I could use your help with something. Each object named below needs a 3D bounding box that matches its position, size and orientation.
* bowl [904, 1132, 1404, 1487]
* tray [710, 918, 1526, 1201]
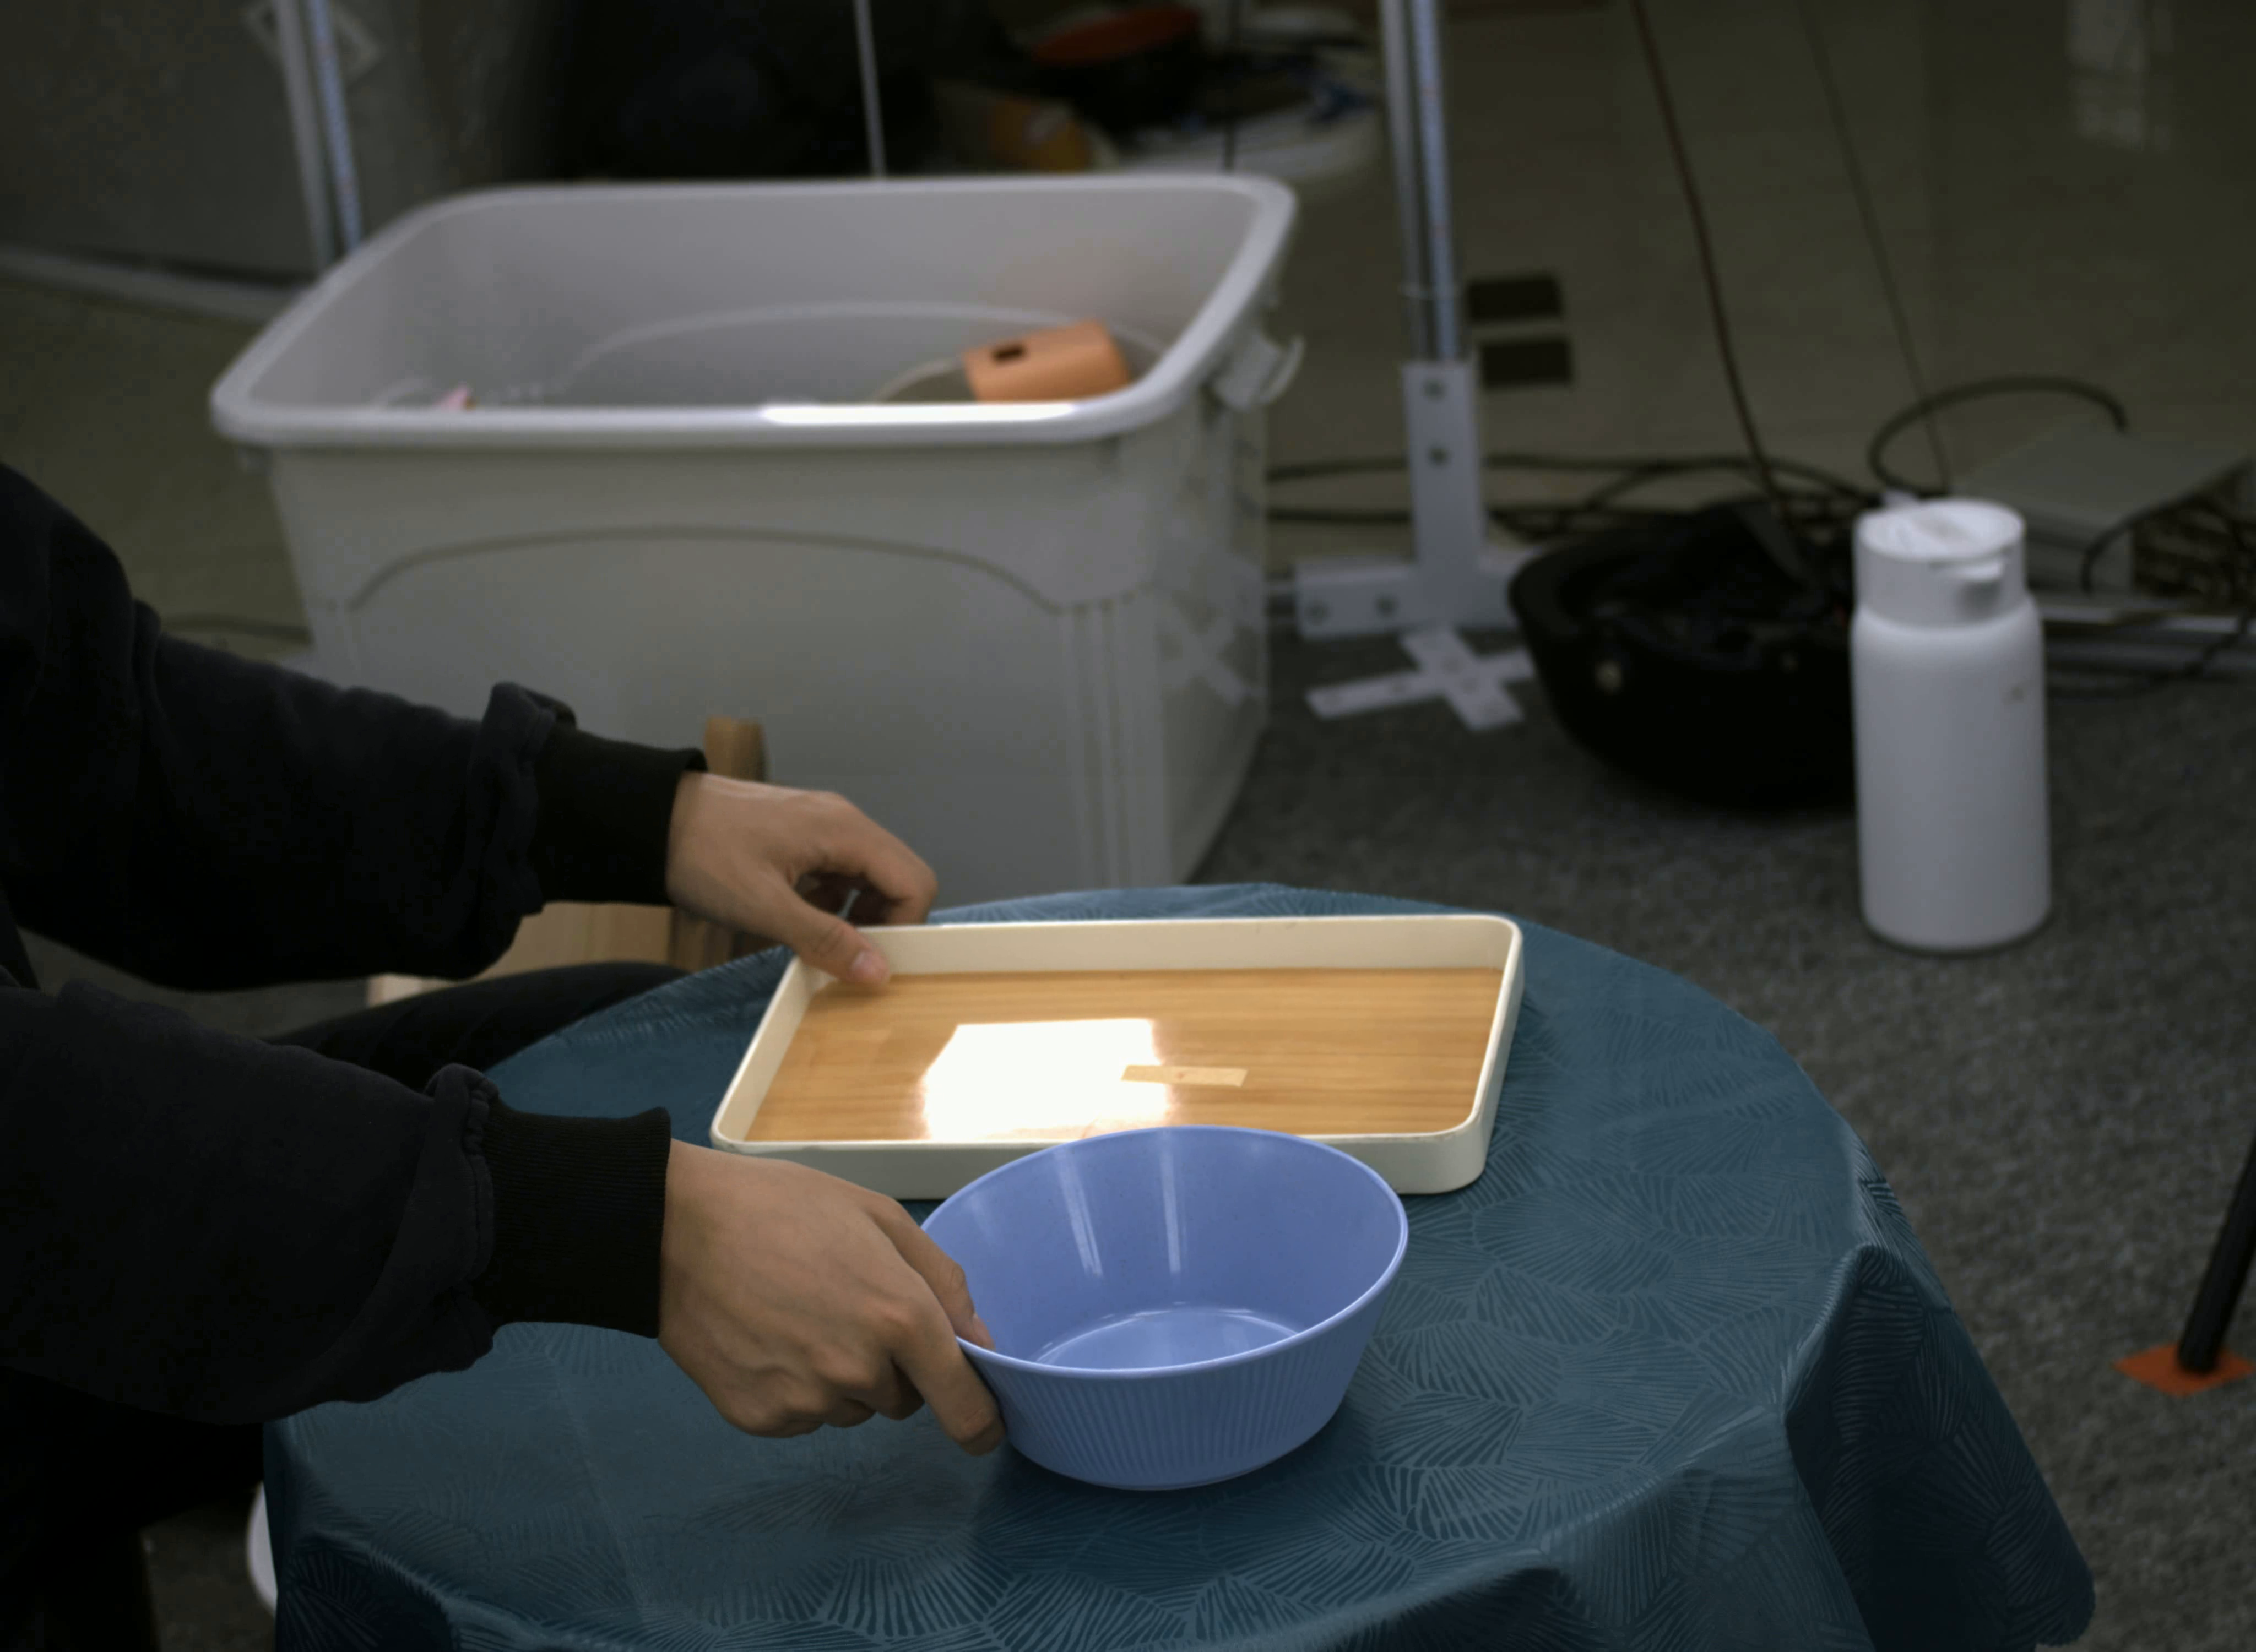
[{"bbox_3d":[0.011,0.175,1.987,0.176,0.071,0.173,-4,25,2],"label":"bowl"},{"bbox_3d":[-0.001,0.091,2.225,0.300,0.028,0.189,-1,25,11],"label":"tray"}]
